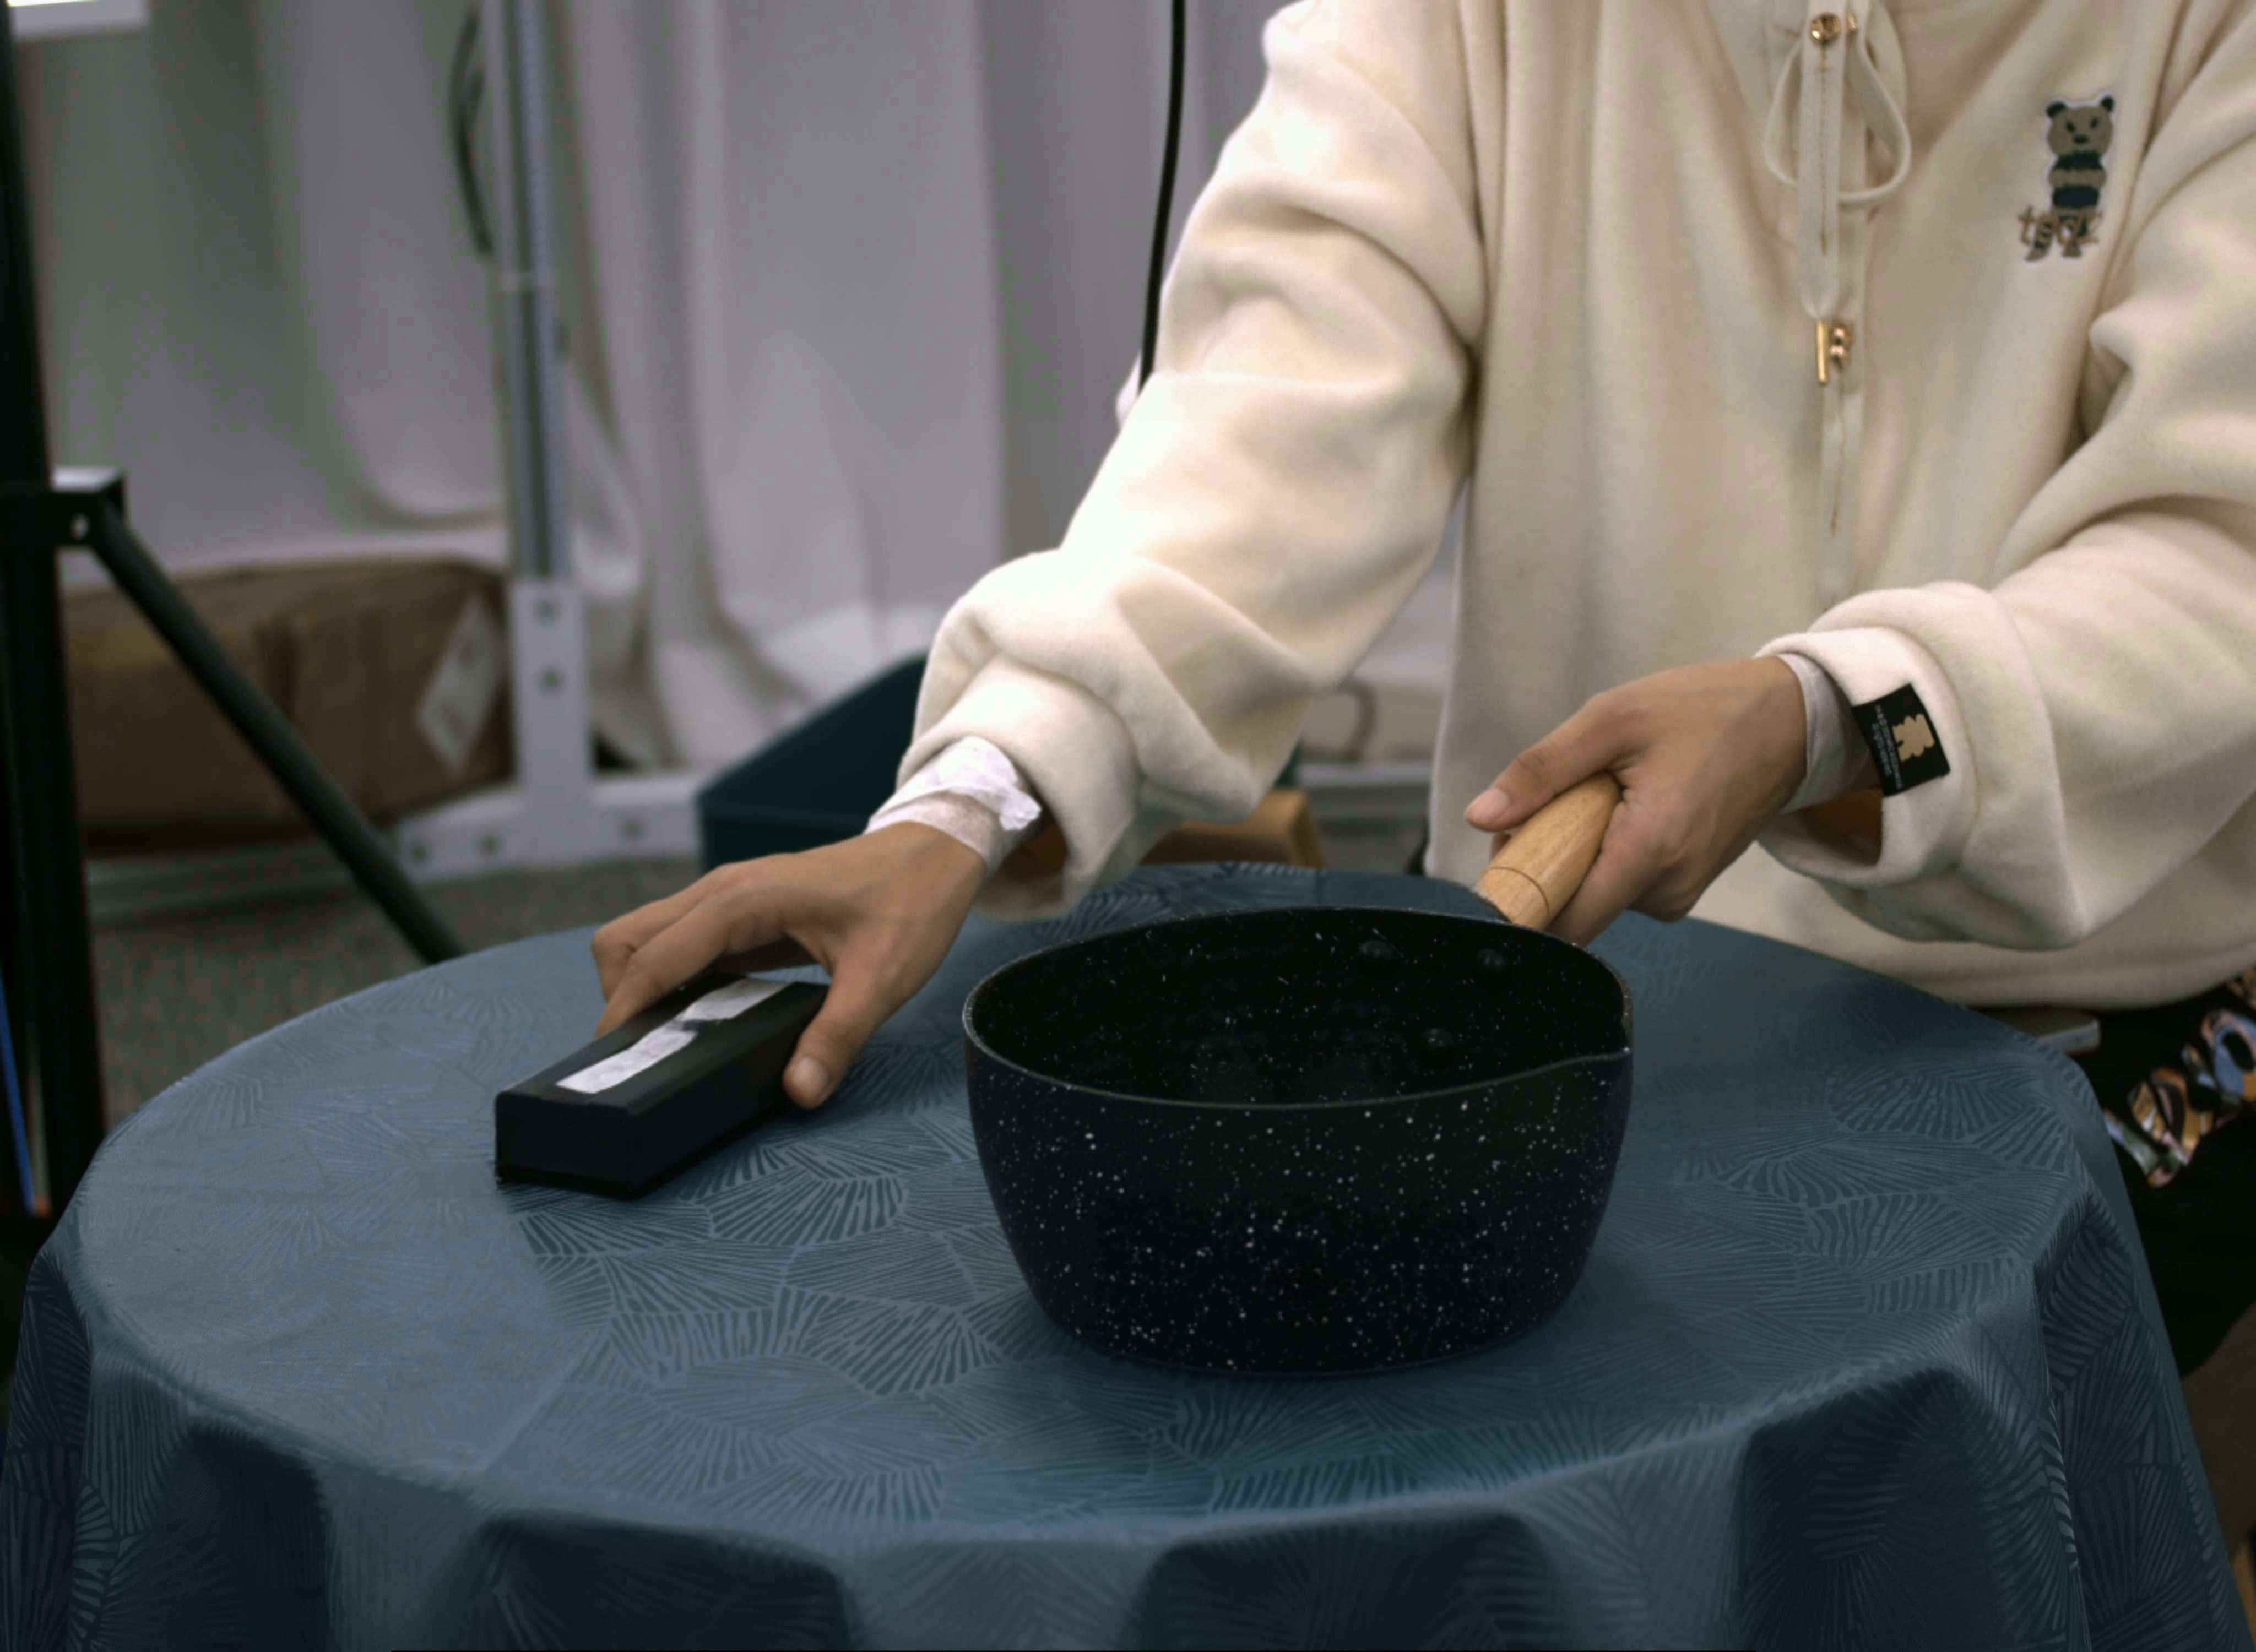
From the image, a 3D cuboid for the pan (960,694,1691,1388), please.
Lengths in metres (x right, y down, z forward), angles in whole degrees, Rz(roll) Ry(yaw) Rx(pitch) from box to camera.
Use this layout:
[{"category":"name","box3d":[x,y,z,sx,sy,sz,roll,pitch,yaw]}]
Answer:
[{"category":"pan","box3d":[0.084,0.057,1.527,0.211,0.108,0.337,5,19,28]}]

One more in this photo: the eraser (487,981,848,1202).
[{"category":"eraser","box3d":[-0.139,0.080,1.627,0.054,0.030,0.123,7,18,29]}]
